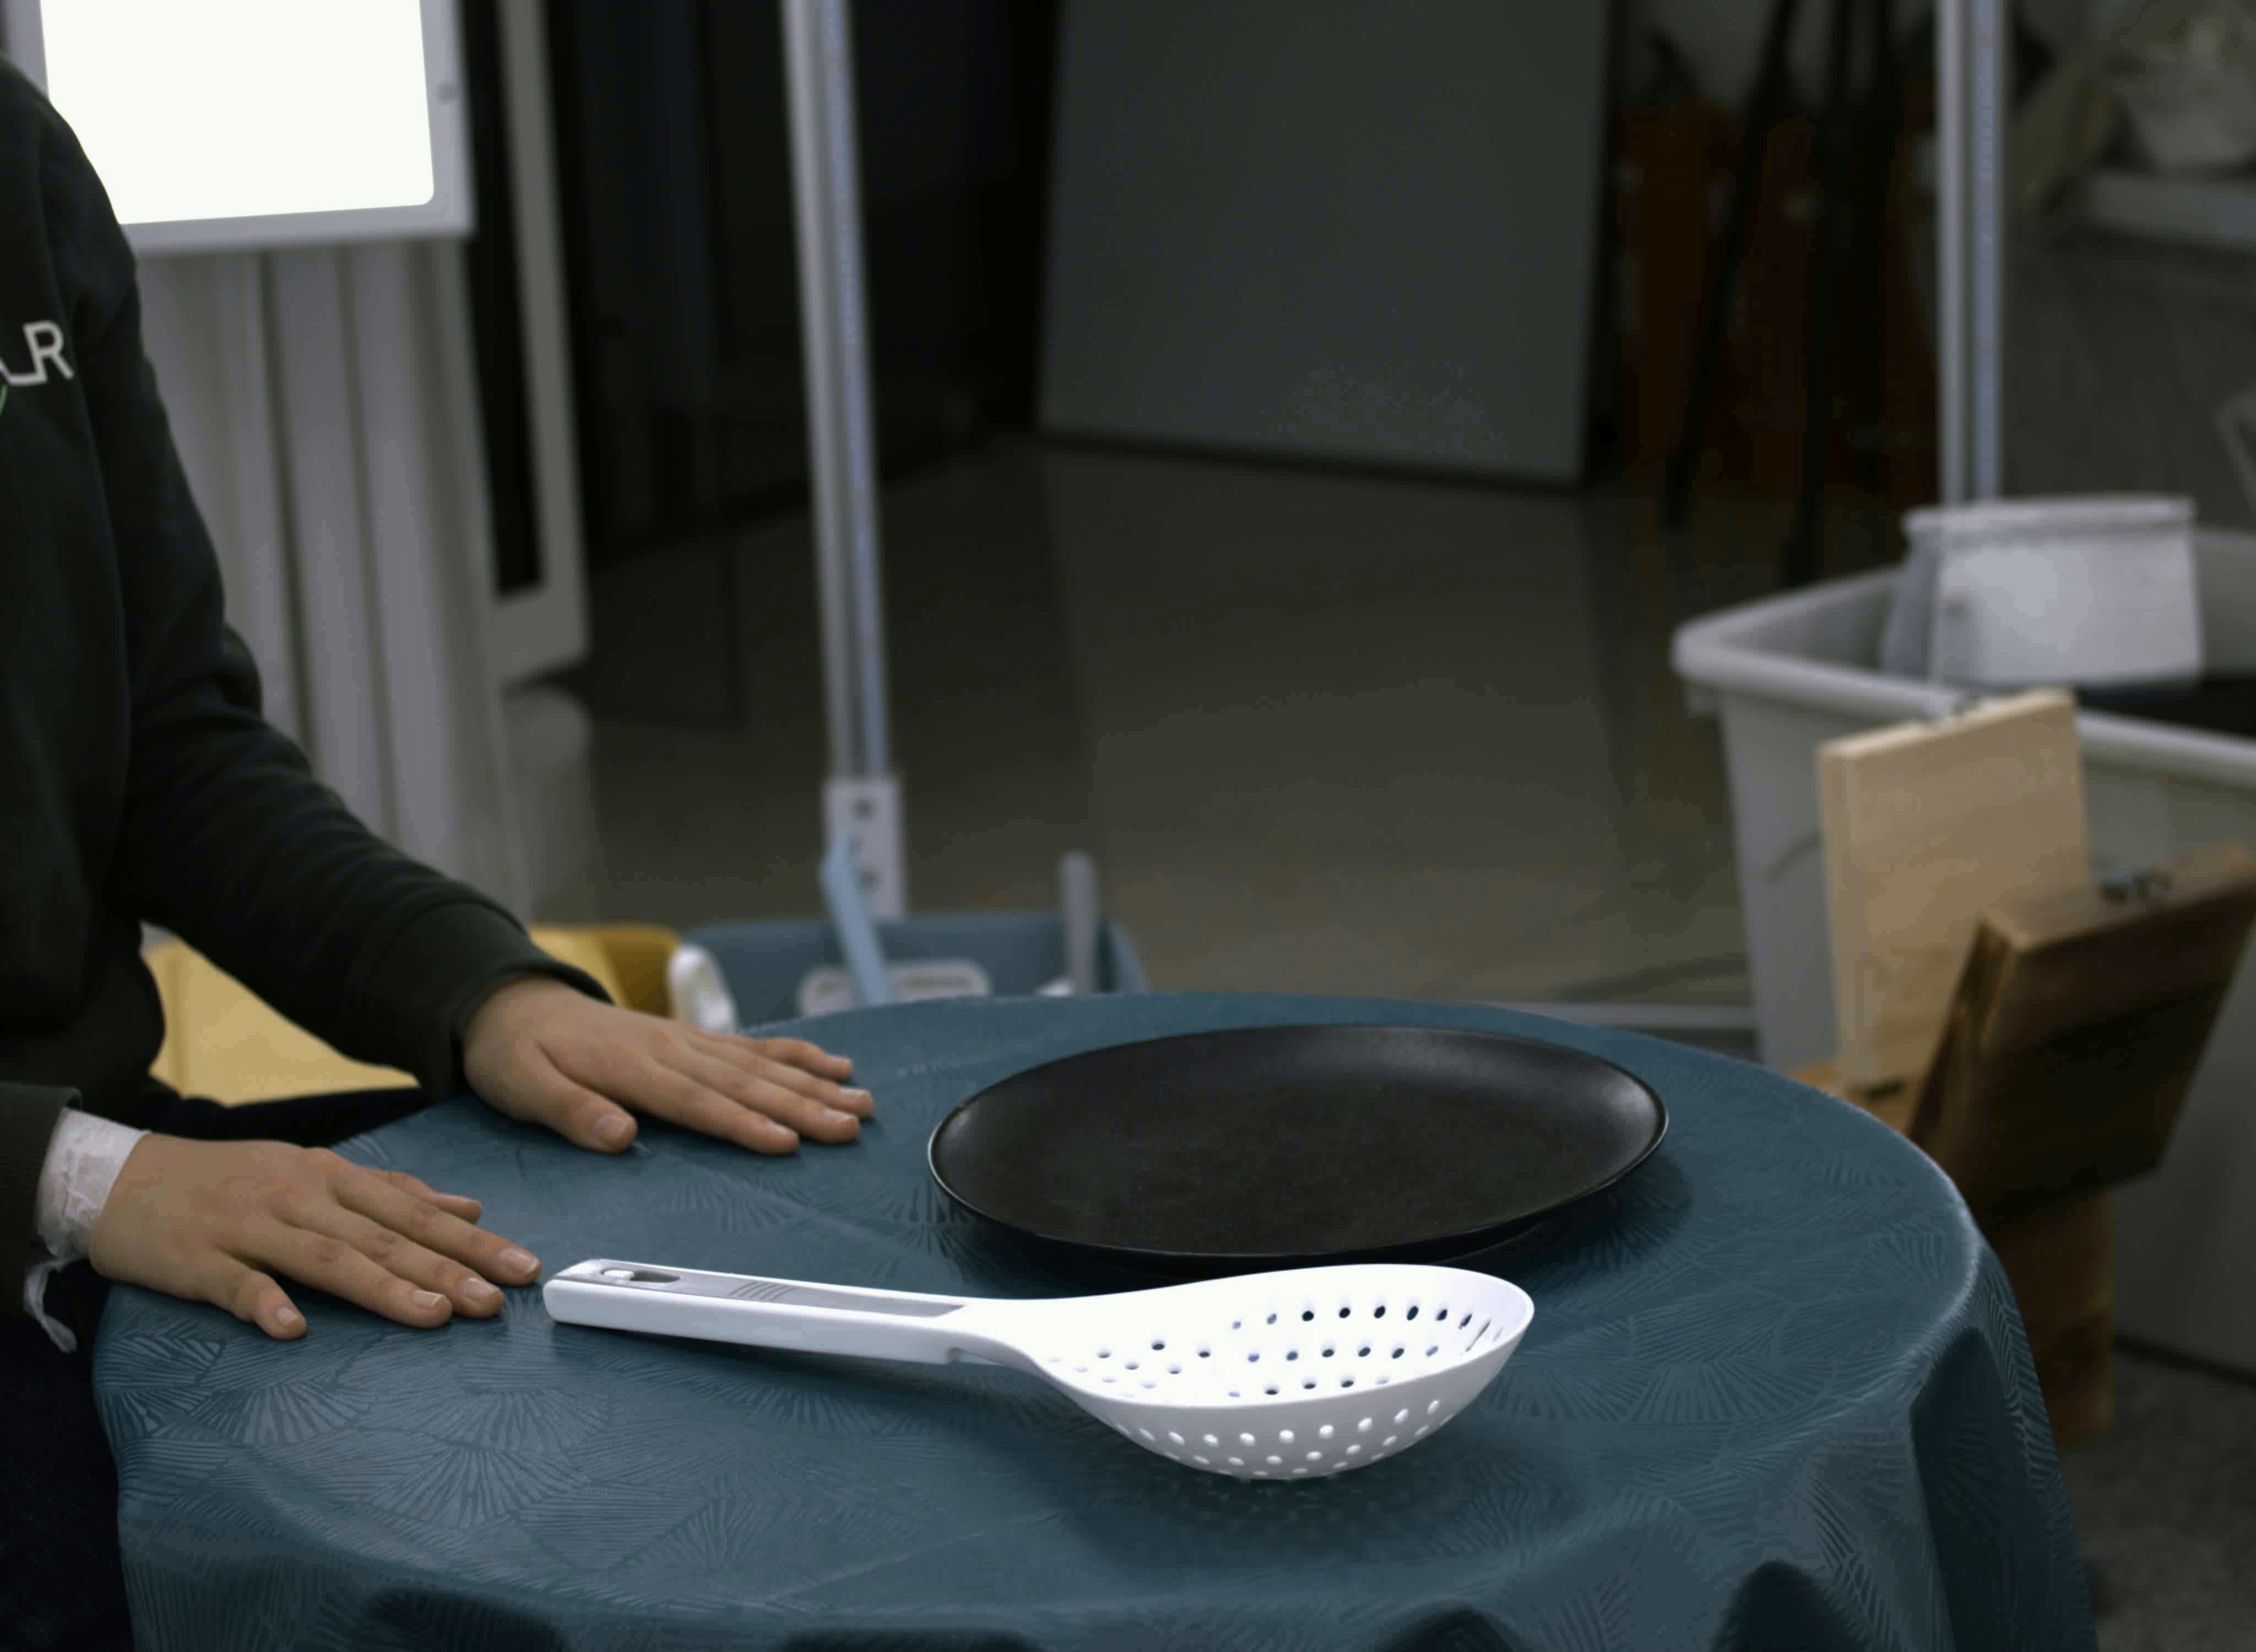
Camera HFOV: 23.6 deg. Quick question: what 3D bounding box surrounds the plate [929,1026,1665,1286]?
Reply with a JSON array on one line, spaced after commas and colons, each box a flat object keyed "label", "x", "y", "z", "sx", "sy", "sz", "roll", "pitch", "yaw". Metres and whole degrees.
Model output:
[{"label": "plate", "x": 0.056, "y": 0.109, "z": 1.754, "sx": 0.241, "sy": 0.024, "sz": 0.245, "roll": -4, "pitch": 14, "yaw": 0}]

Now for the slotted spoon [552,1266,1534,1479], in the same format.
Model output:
[{"label": "slotted spoon", "x": -0.036, "y": 0.148, "z": 1.577, "sx": 0.352, "sy": 0.046, "sz": 0.133, "roll": 6, "pitch": 15, "yaw": 38}]
